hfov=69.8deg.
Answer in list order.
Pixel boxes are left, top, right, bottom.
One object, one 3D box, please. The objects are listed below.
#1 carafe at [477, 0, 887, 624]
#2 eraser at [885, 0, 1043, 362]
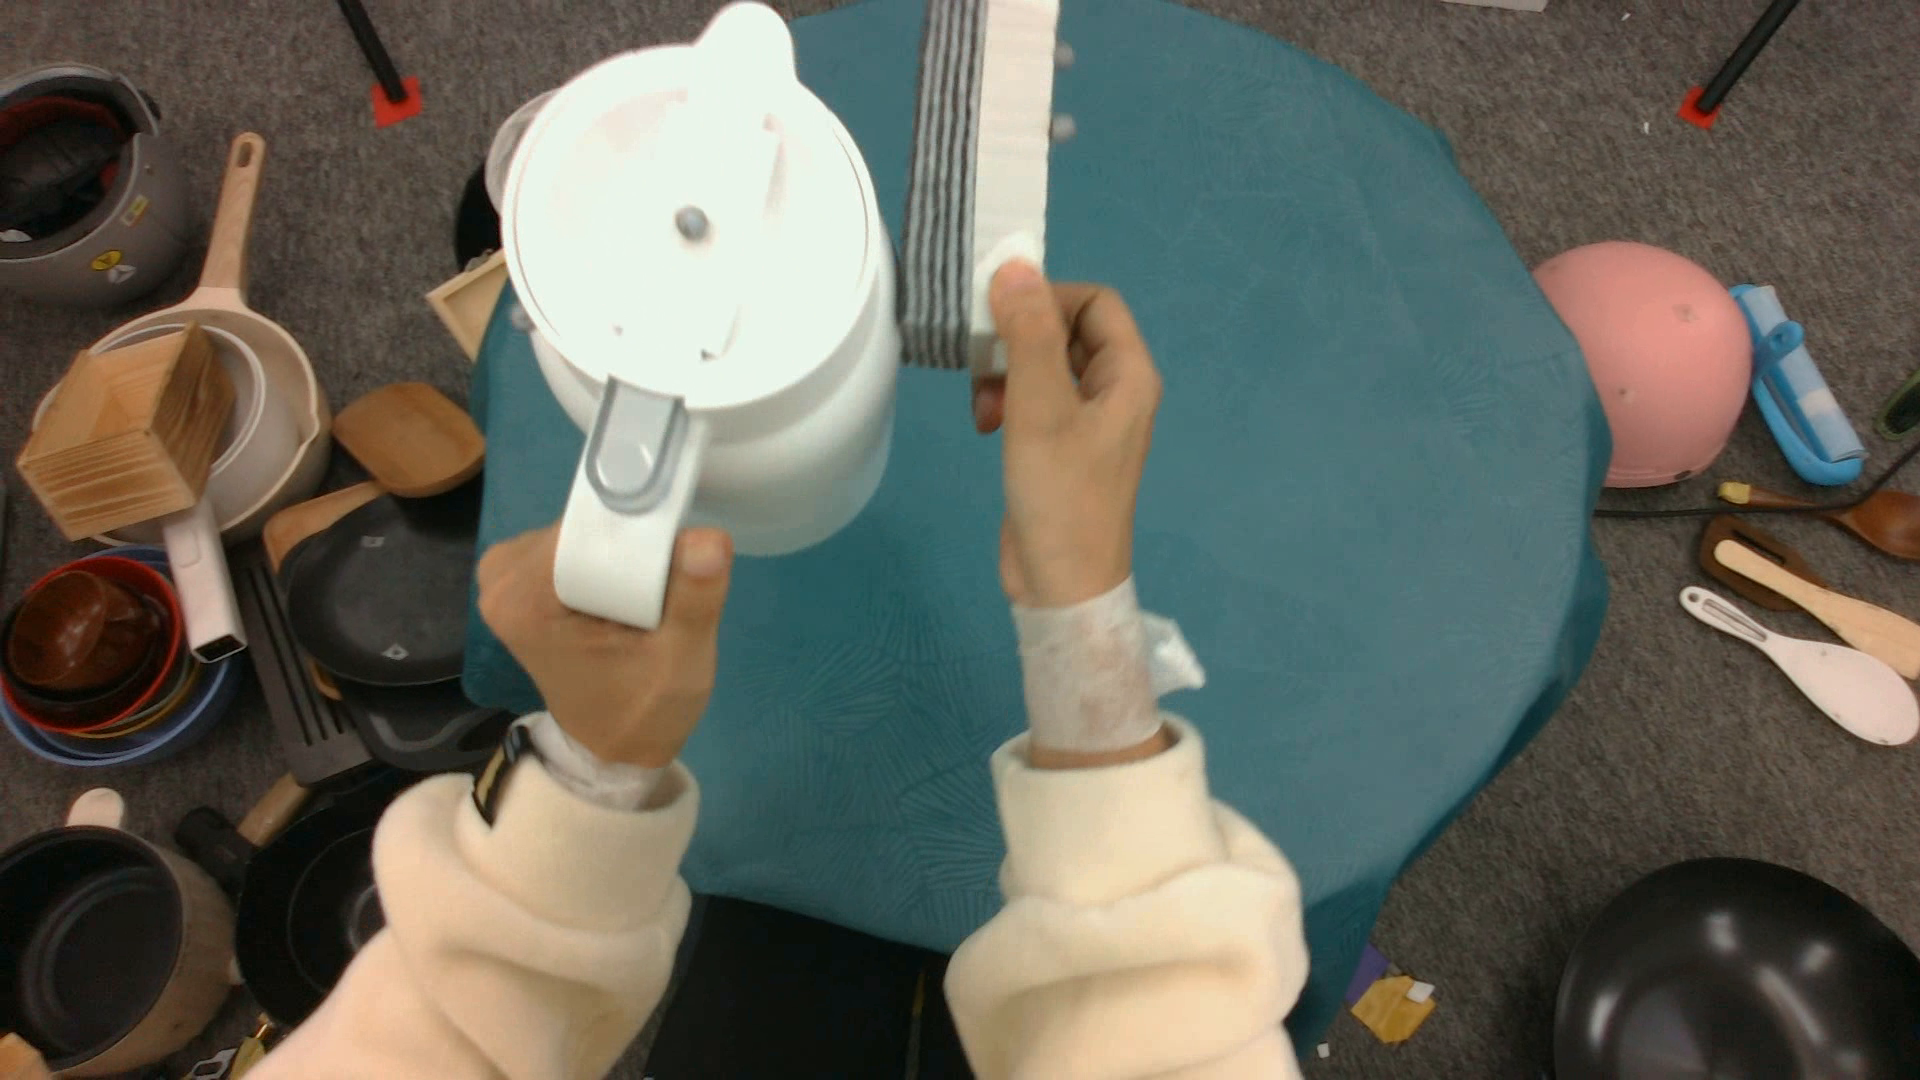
[{"bbox_3d":[-0.091,-0.056,0.494,0.124,0.268,0.173,15,82,-6],"label":"carafe"},{"bbox_3d":[0.001,-0.131,0.454,0.046,0.049,0.134,4,82,-4],"label":"eraser"}]
